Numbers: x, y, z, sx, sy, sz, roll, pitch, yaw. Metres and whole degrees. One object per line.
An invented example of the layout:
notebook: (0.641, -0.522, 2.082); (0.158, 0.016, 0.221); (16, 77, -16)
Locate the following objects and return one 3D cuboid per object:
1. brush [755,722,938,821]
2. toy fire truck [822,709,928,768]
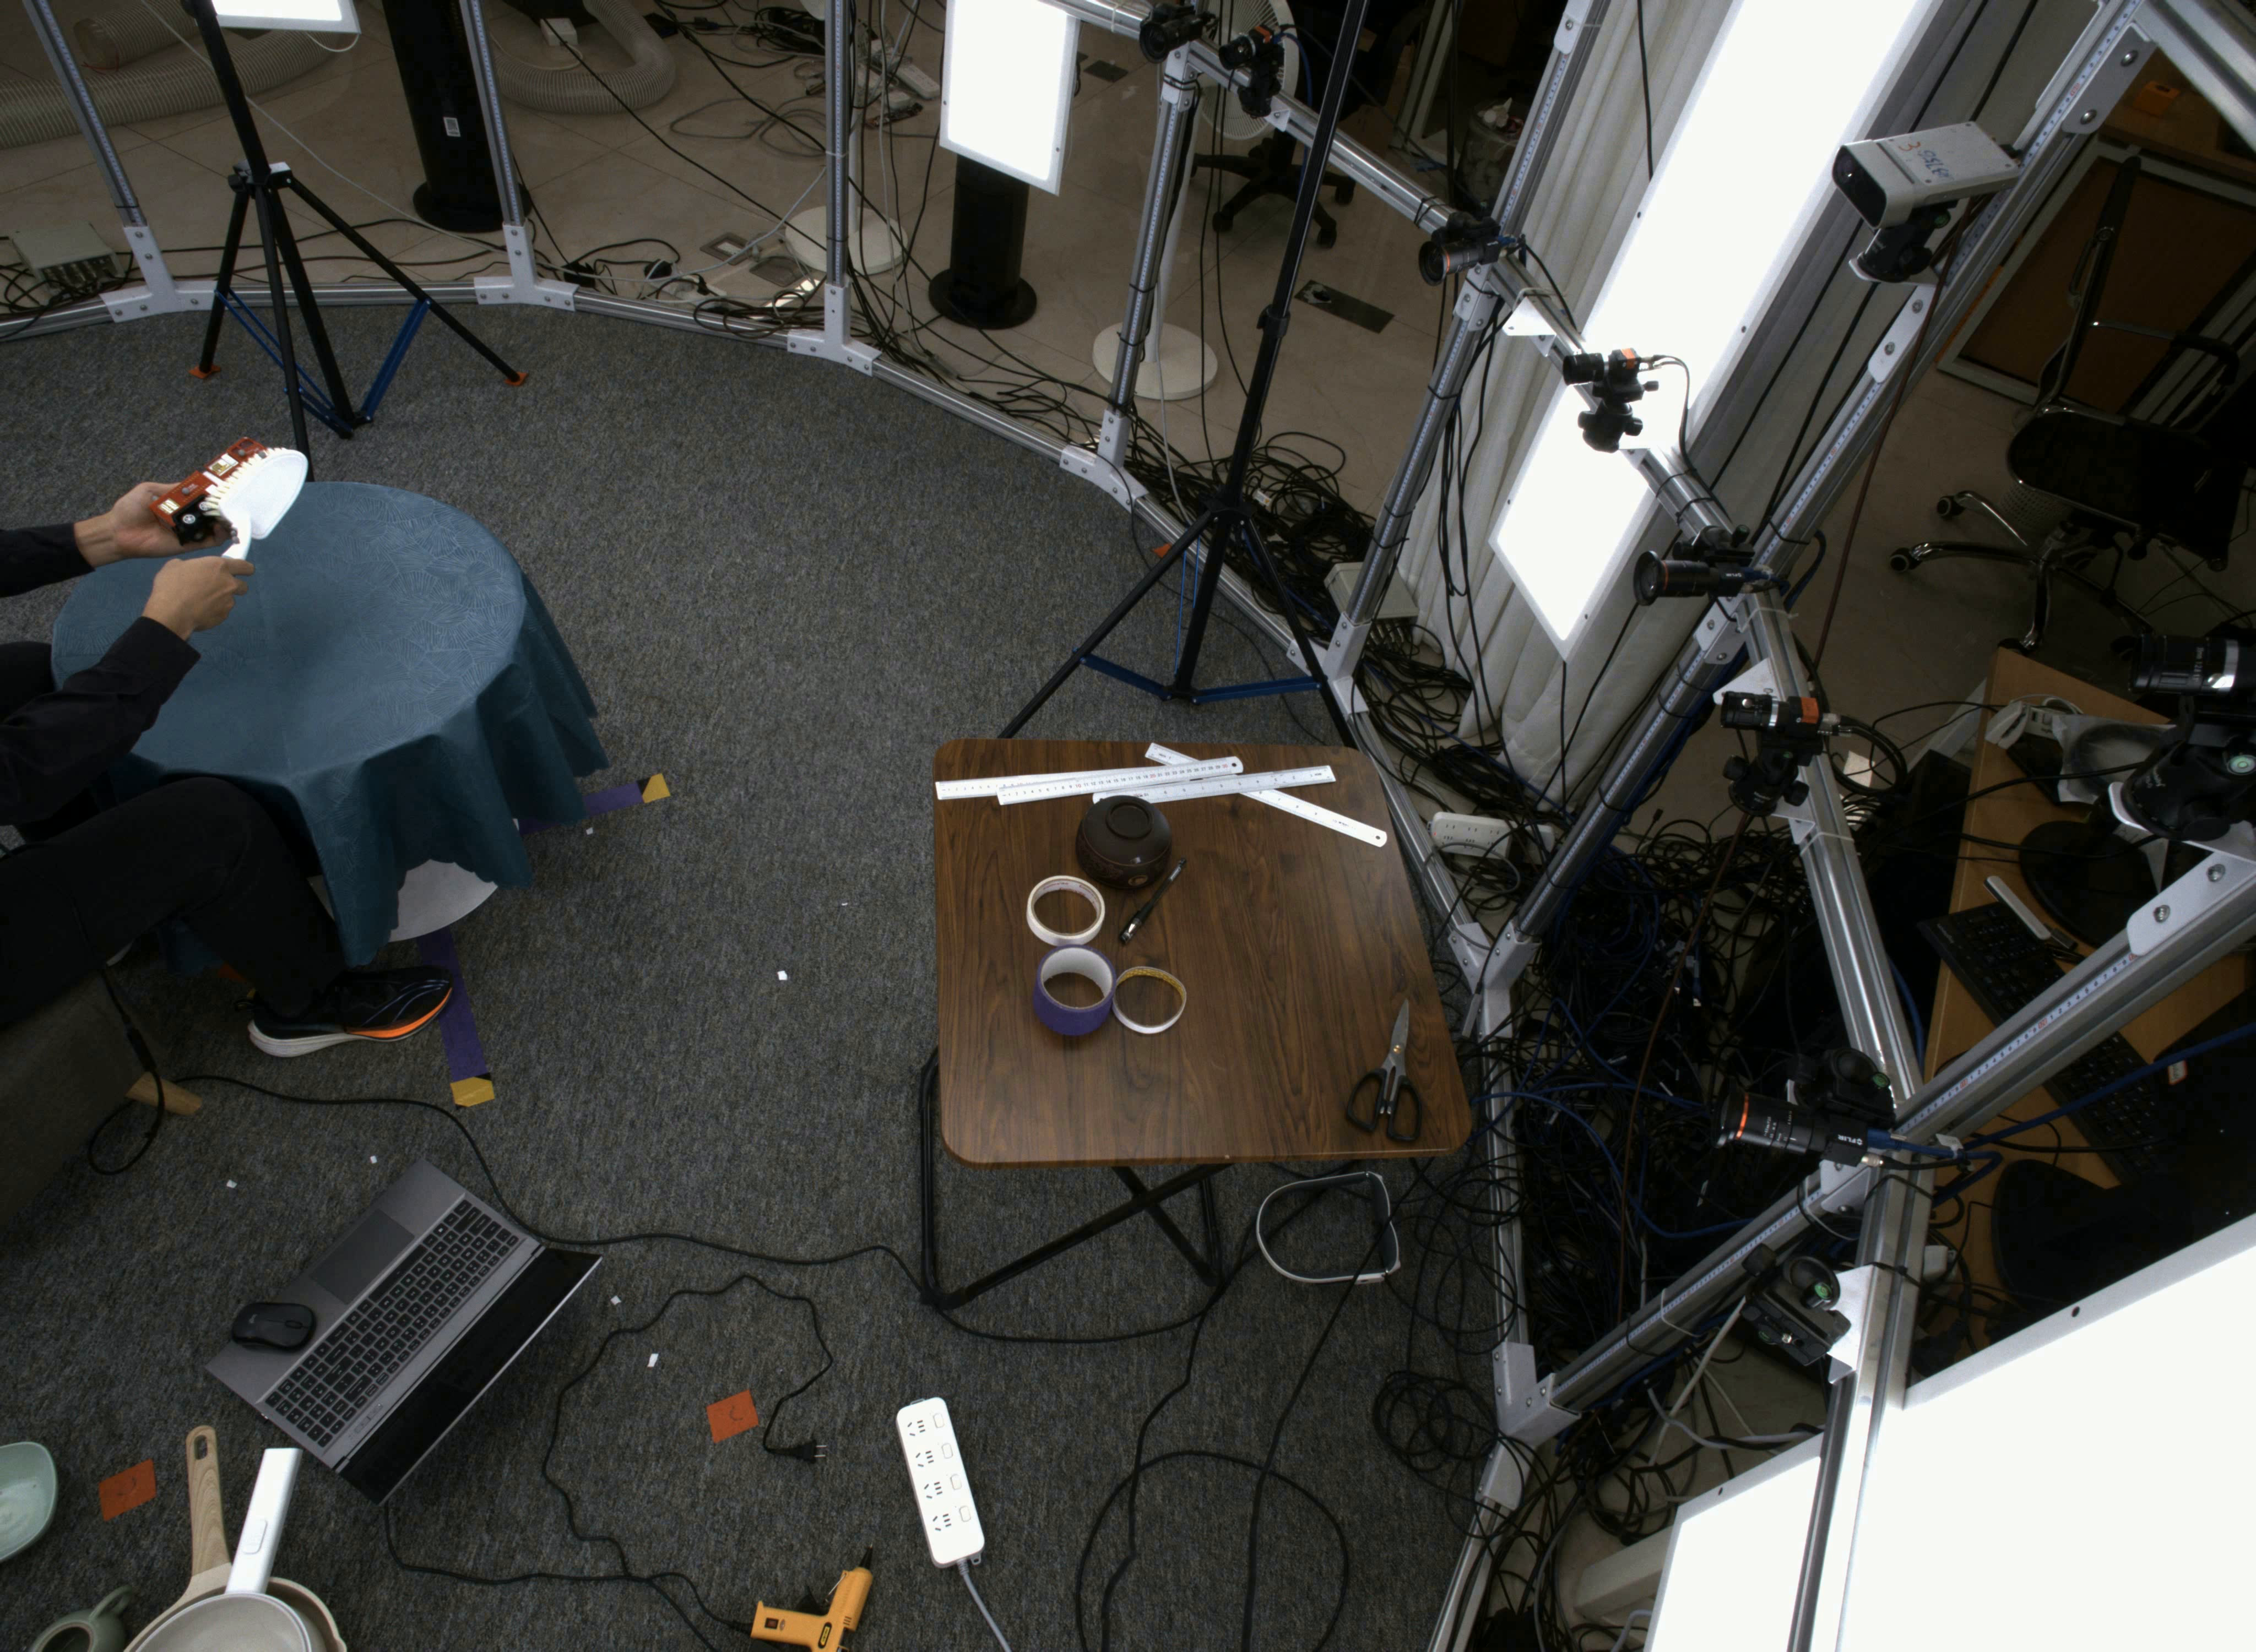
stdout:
brush: (-0.422, -0.083, 1.909); (0.327, 0.086, 0.081); (-30, 69, -38)
toy fire truck: (-0.390, -0.136, 1.999); (0.169, 0.055, 0.068); (-16, 48, -28)
